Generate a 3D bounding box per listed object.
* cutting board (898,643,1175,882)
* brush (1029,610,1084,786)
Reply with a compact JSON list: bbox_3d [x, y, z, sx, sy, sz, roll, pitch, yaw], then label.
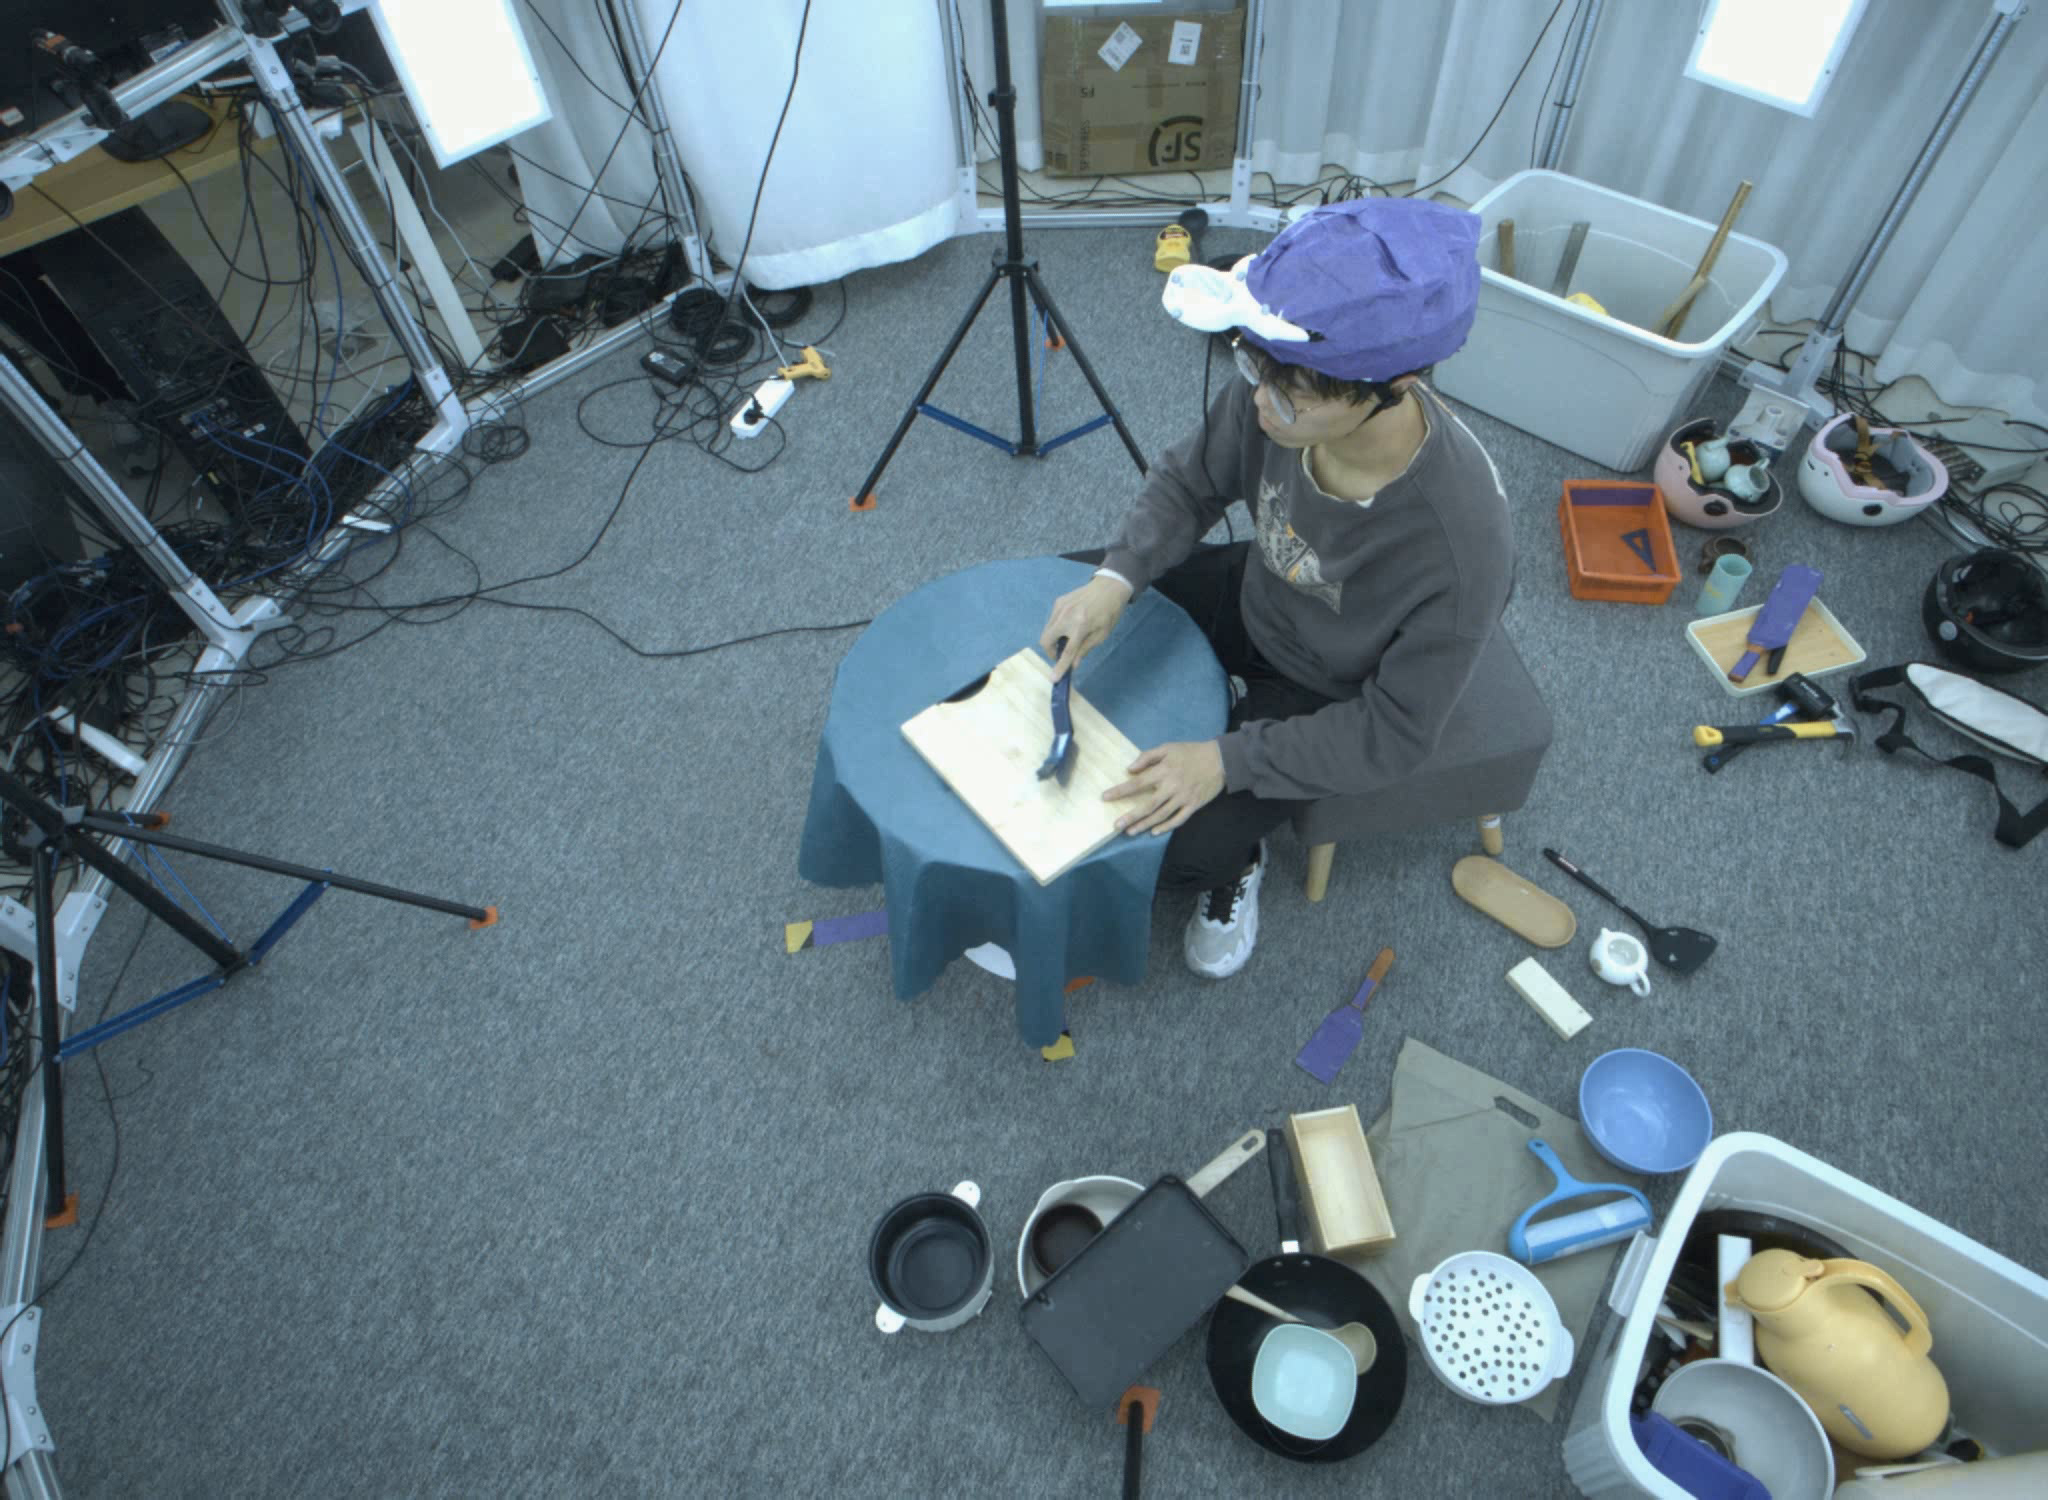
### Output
[{"bbox_3d":[0.013,0.009,1.768,0.253,0.024,0.342,-34,60,-21],"label":"cutting board"},{"bbox_3d":[0.050,-0.083,1.725,0.033,0.098,0.271,-12,66,35],"label":"brush"}]
